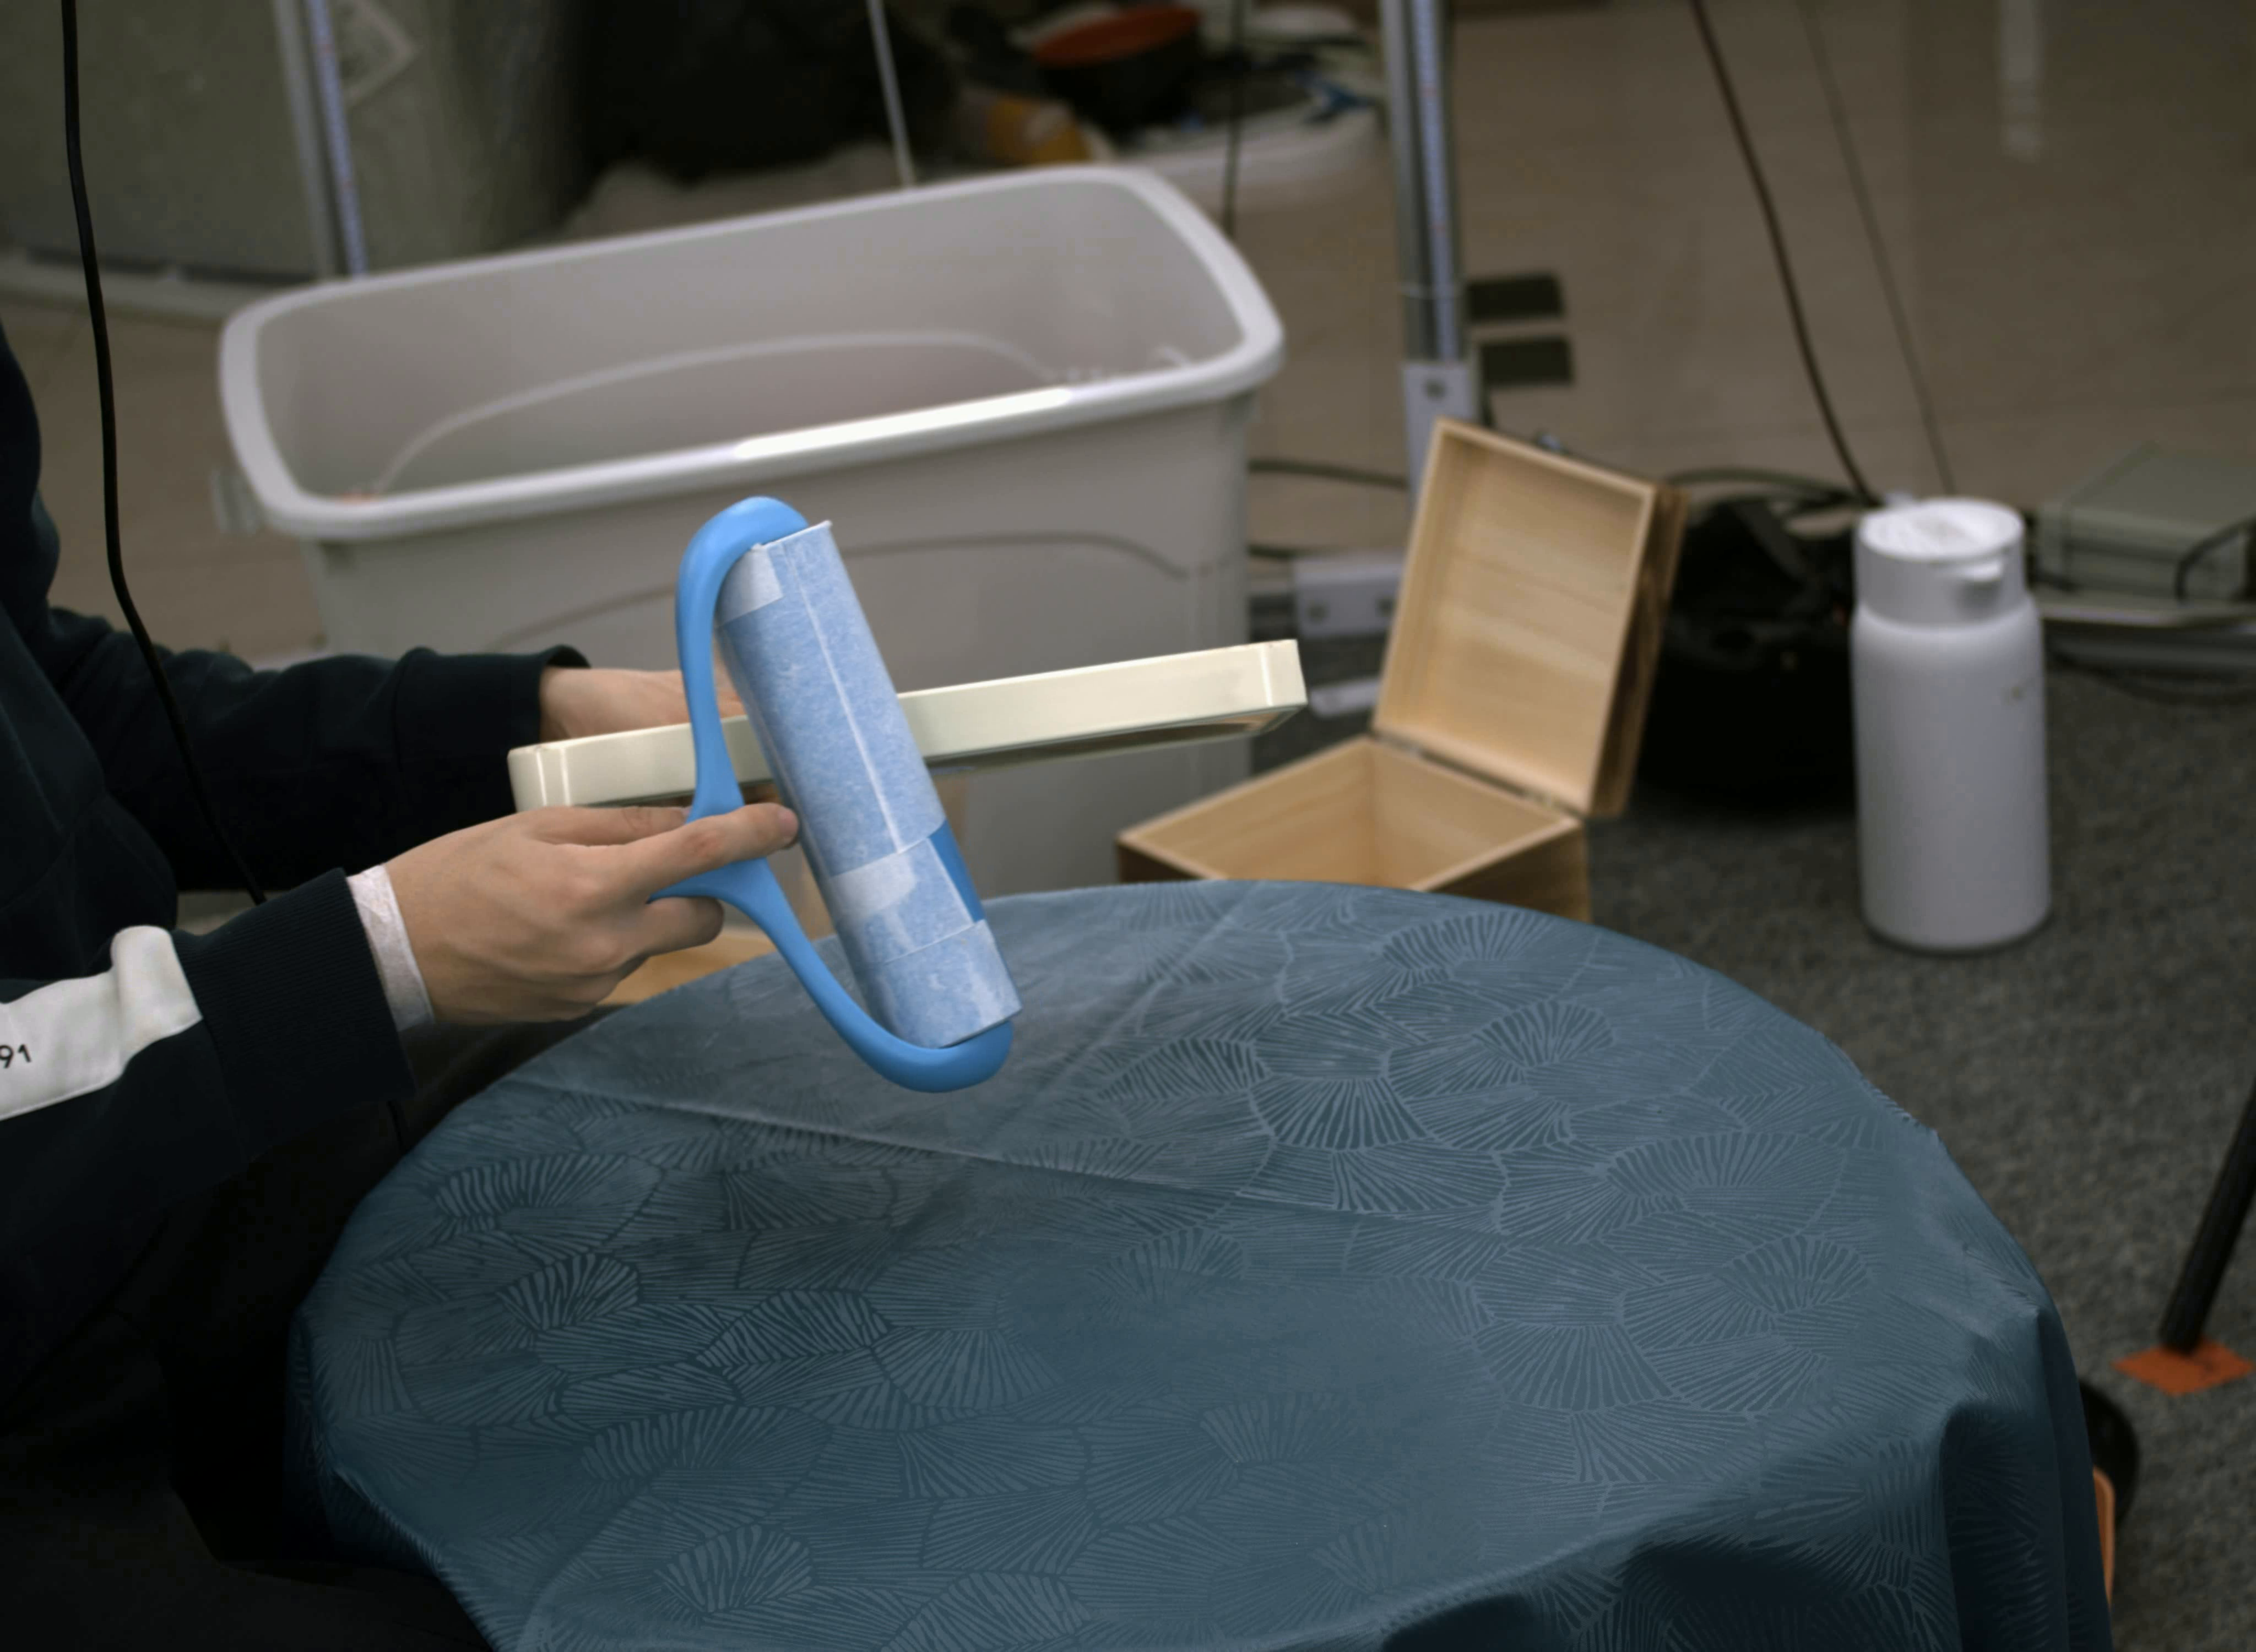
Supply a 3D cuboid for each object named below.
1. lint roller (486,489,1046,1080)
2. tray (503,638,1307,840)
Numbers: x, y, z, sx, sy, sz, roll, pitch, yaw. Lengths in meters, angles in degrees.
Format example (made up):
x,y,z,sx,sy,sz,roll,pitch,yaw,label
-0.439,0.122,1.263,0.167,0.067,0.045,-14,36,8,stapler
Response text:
x,y,z,sx,sy,sz,roll,pitch,yaw,label
-0.145,0.011,2.045,0.179,0.230,0.068,-27,7,-10,lint roller
-0.086,-0.032,2.176,0.300,0.027,0.192,-8,-2,-3,tray
